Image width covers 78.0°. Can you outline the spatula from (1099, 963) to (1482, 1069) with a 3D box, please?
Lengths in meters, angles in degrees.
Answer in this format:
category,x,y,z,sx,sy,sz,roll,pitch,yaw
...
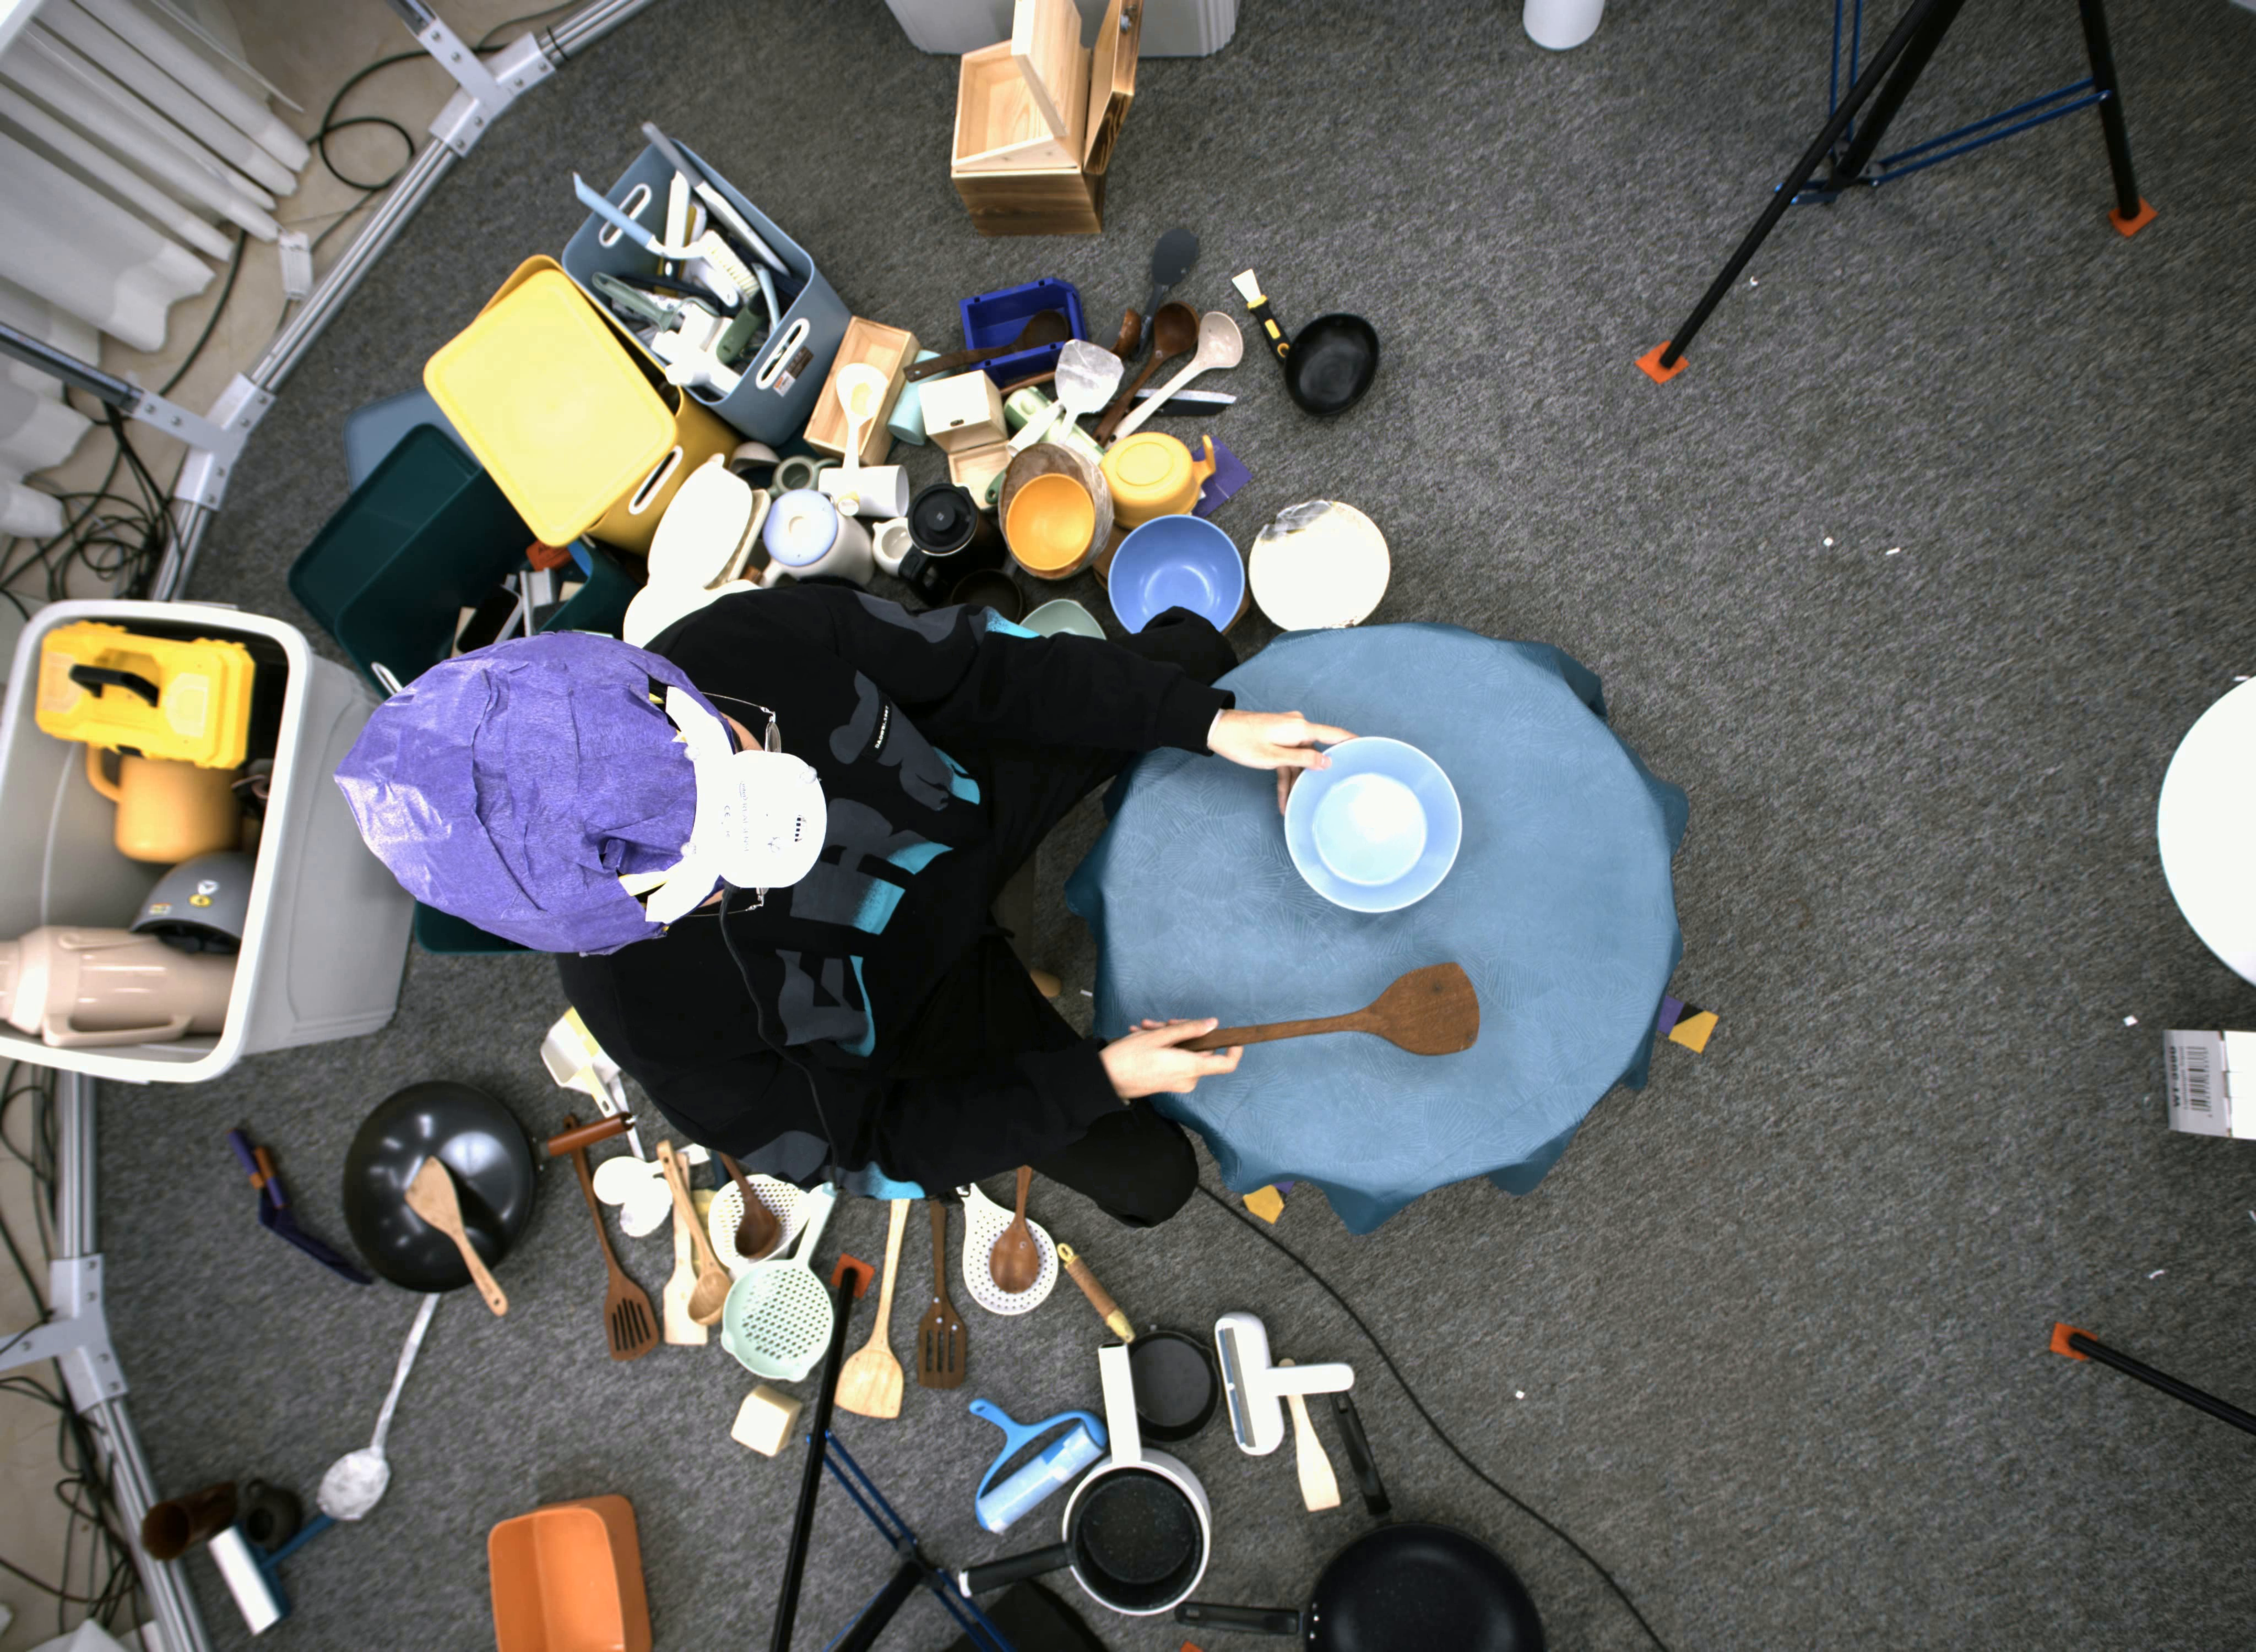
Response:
category,x,y,z,sx,sy,sz,roll,pitch,yaw
spatula,0.161,0.204,1.393,0.387,0.016,0.094,-9,60,5

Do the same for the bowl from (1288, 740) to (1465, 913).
category,x,y,z,sx,sy,sz,roll,pitch,yaw
bowl,0.253,0.002,1.414,0.177,0.070,0.175,-1,86,9
